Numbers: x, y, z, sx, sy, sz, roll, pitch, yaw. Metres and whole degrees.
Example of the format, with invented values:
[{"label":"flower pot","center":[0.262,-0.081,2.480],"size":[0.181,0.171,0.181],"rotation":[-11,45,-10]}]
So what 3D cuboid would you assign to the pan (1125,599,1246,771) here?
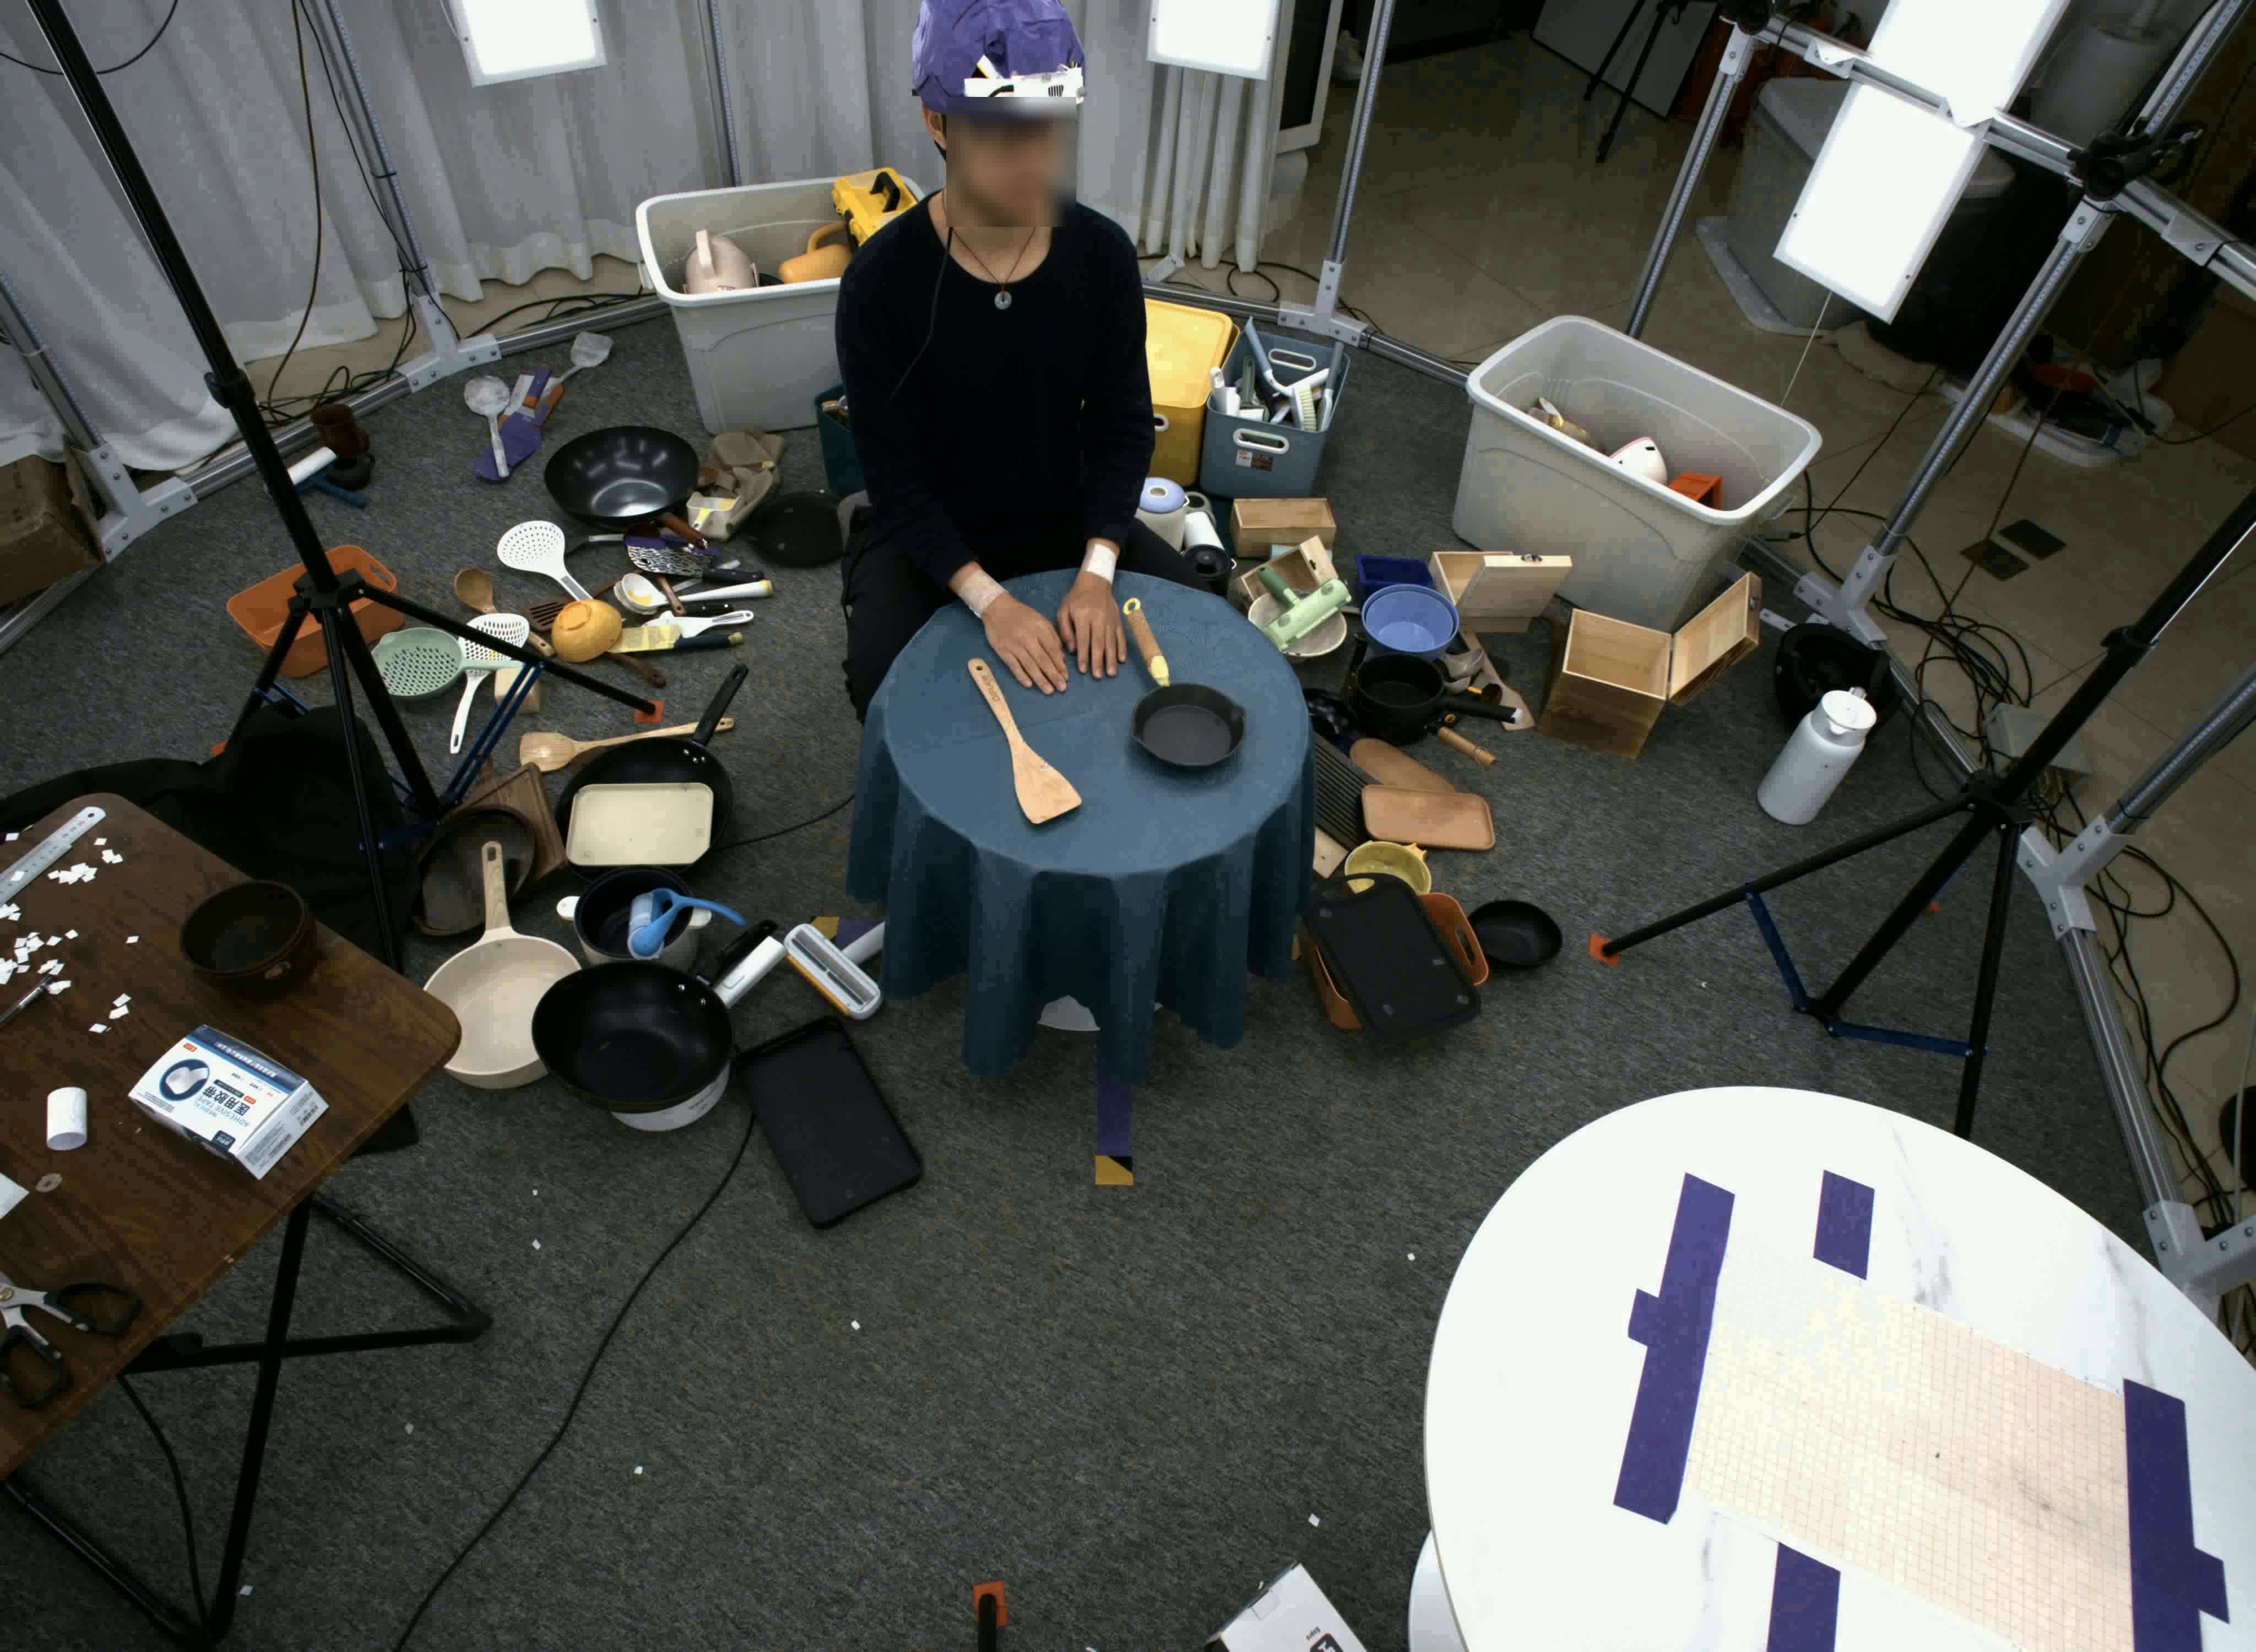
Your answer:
[{"label":"pan","center":[0.056,-0.201,1.814],"size":[0.169,0.048,0.332],"rotation":[-12,52,-14]}]

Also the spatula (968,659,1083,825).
[{"label":"spatula","center":[-0.153,-0.124,1.756],"size":[0.080,0.016,0.335],"rotation":[-16,52,-18]}]
